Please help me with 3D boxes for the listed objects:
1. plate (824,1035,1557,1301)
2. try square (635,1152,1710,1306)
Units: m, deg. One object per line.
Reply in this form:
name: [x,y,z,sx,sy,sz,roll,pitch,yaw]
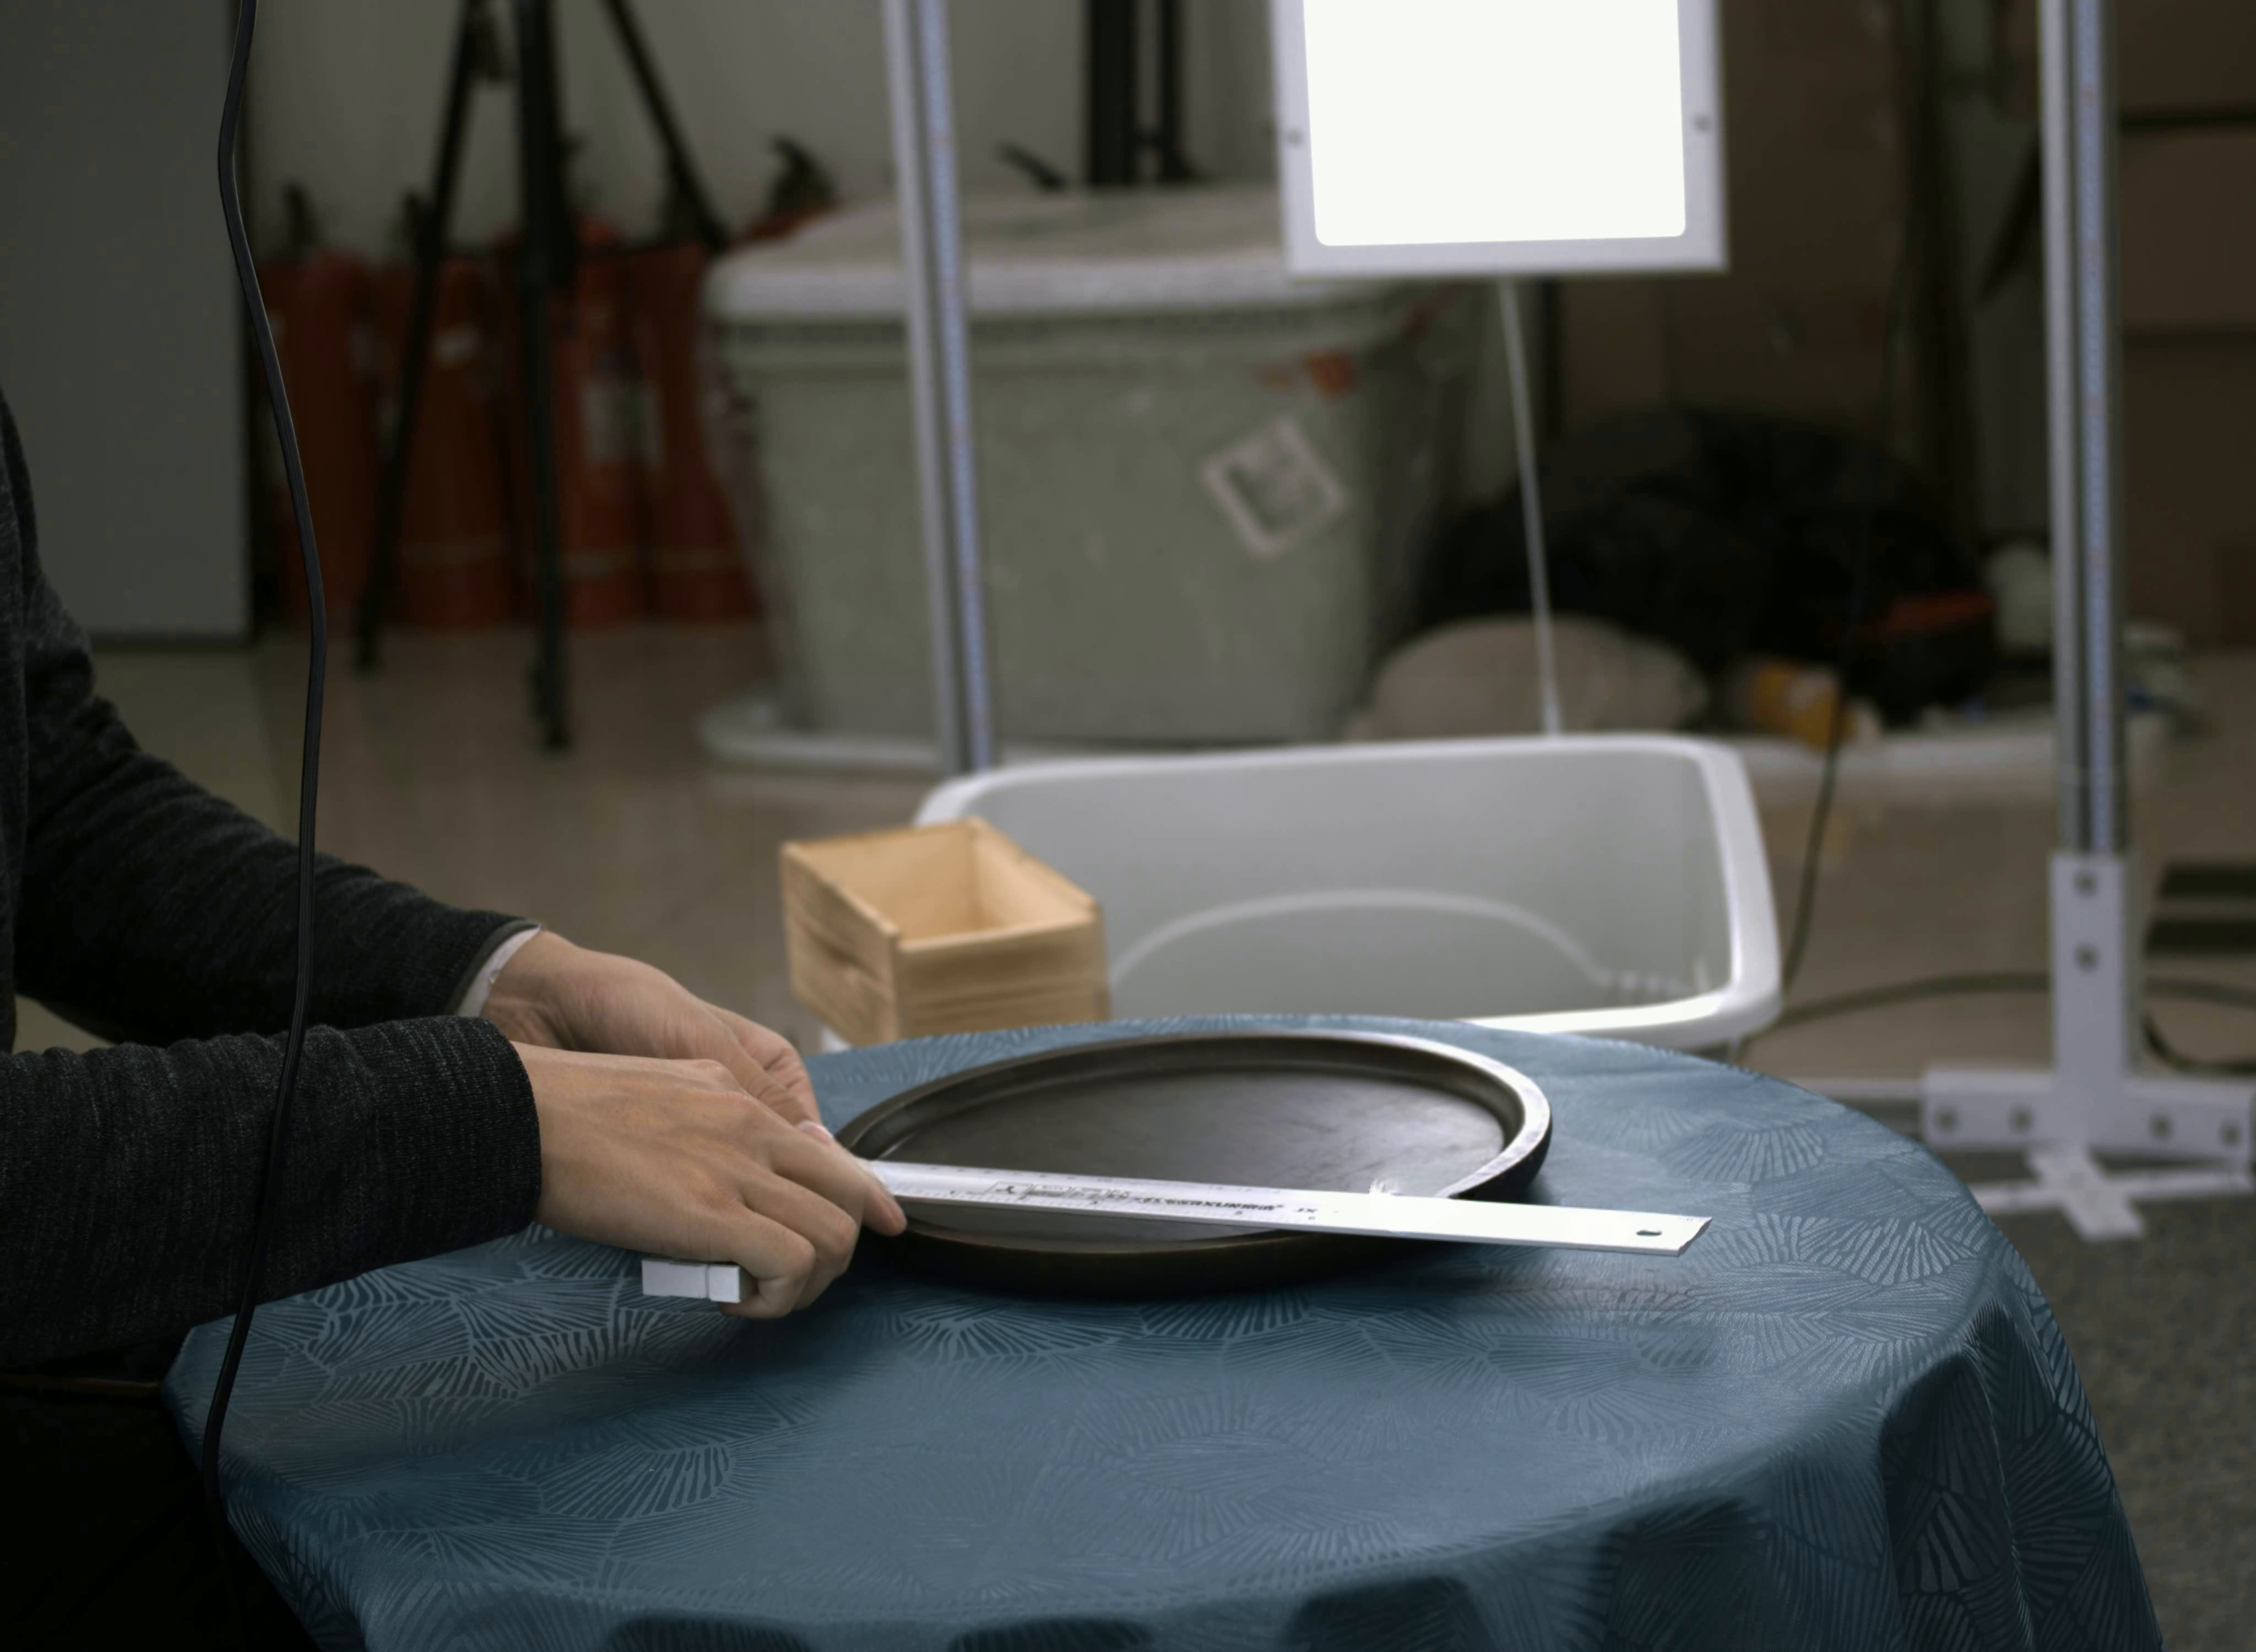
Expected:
plate: [0.021,0.115,1.889,0.254,0.029,0.254,-4,14,0]
try square: [0.014,0.134,1.748,0.317,0.016,0.149,2,13,23]
